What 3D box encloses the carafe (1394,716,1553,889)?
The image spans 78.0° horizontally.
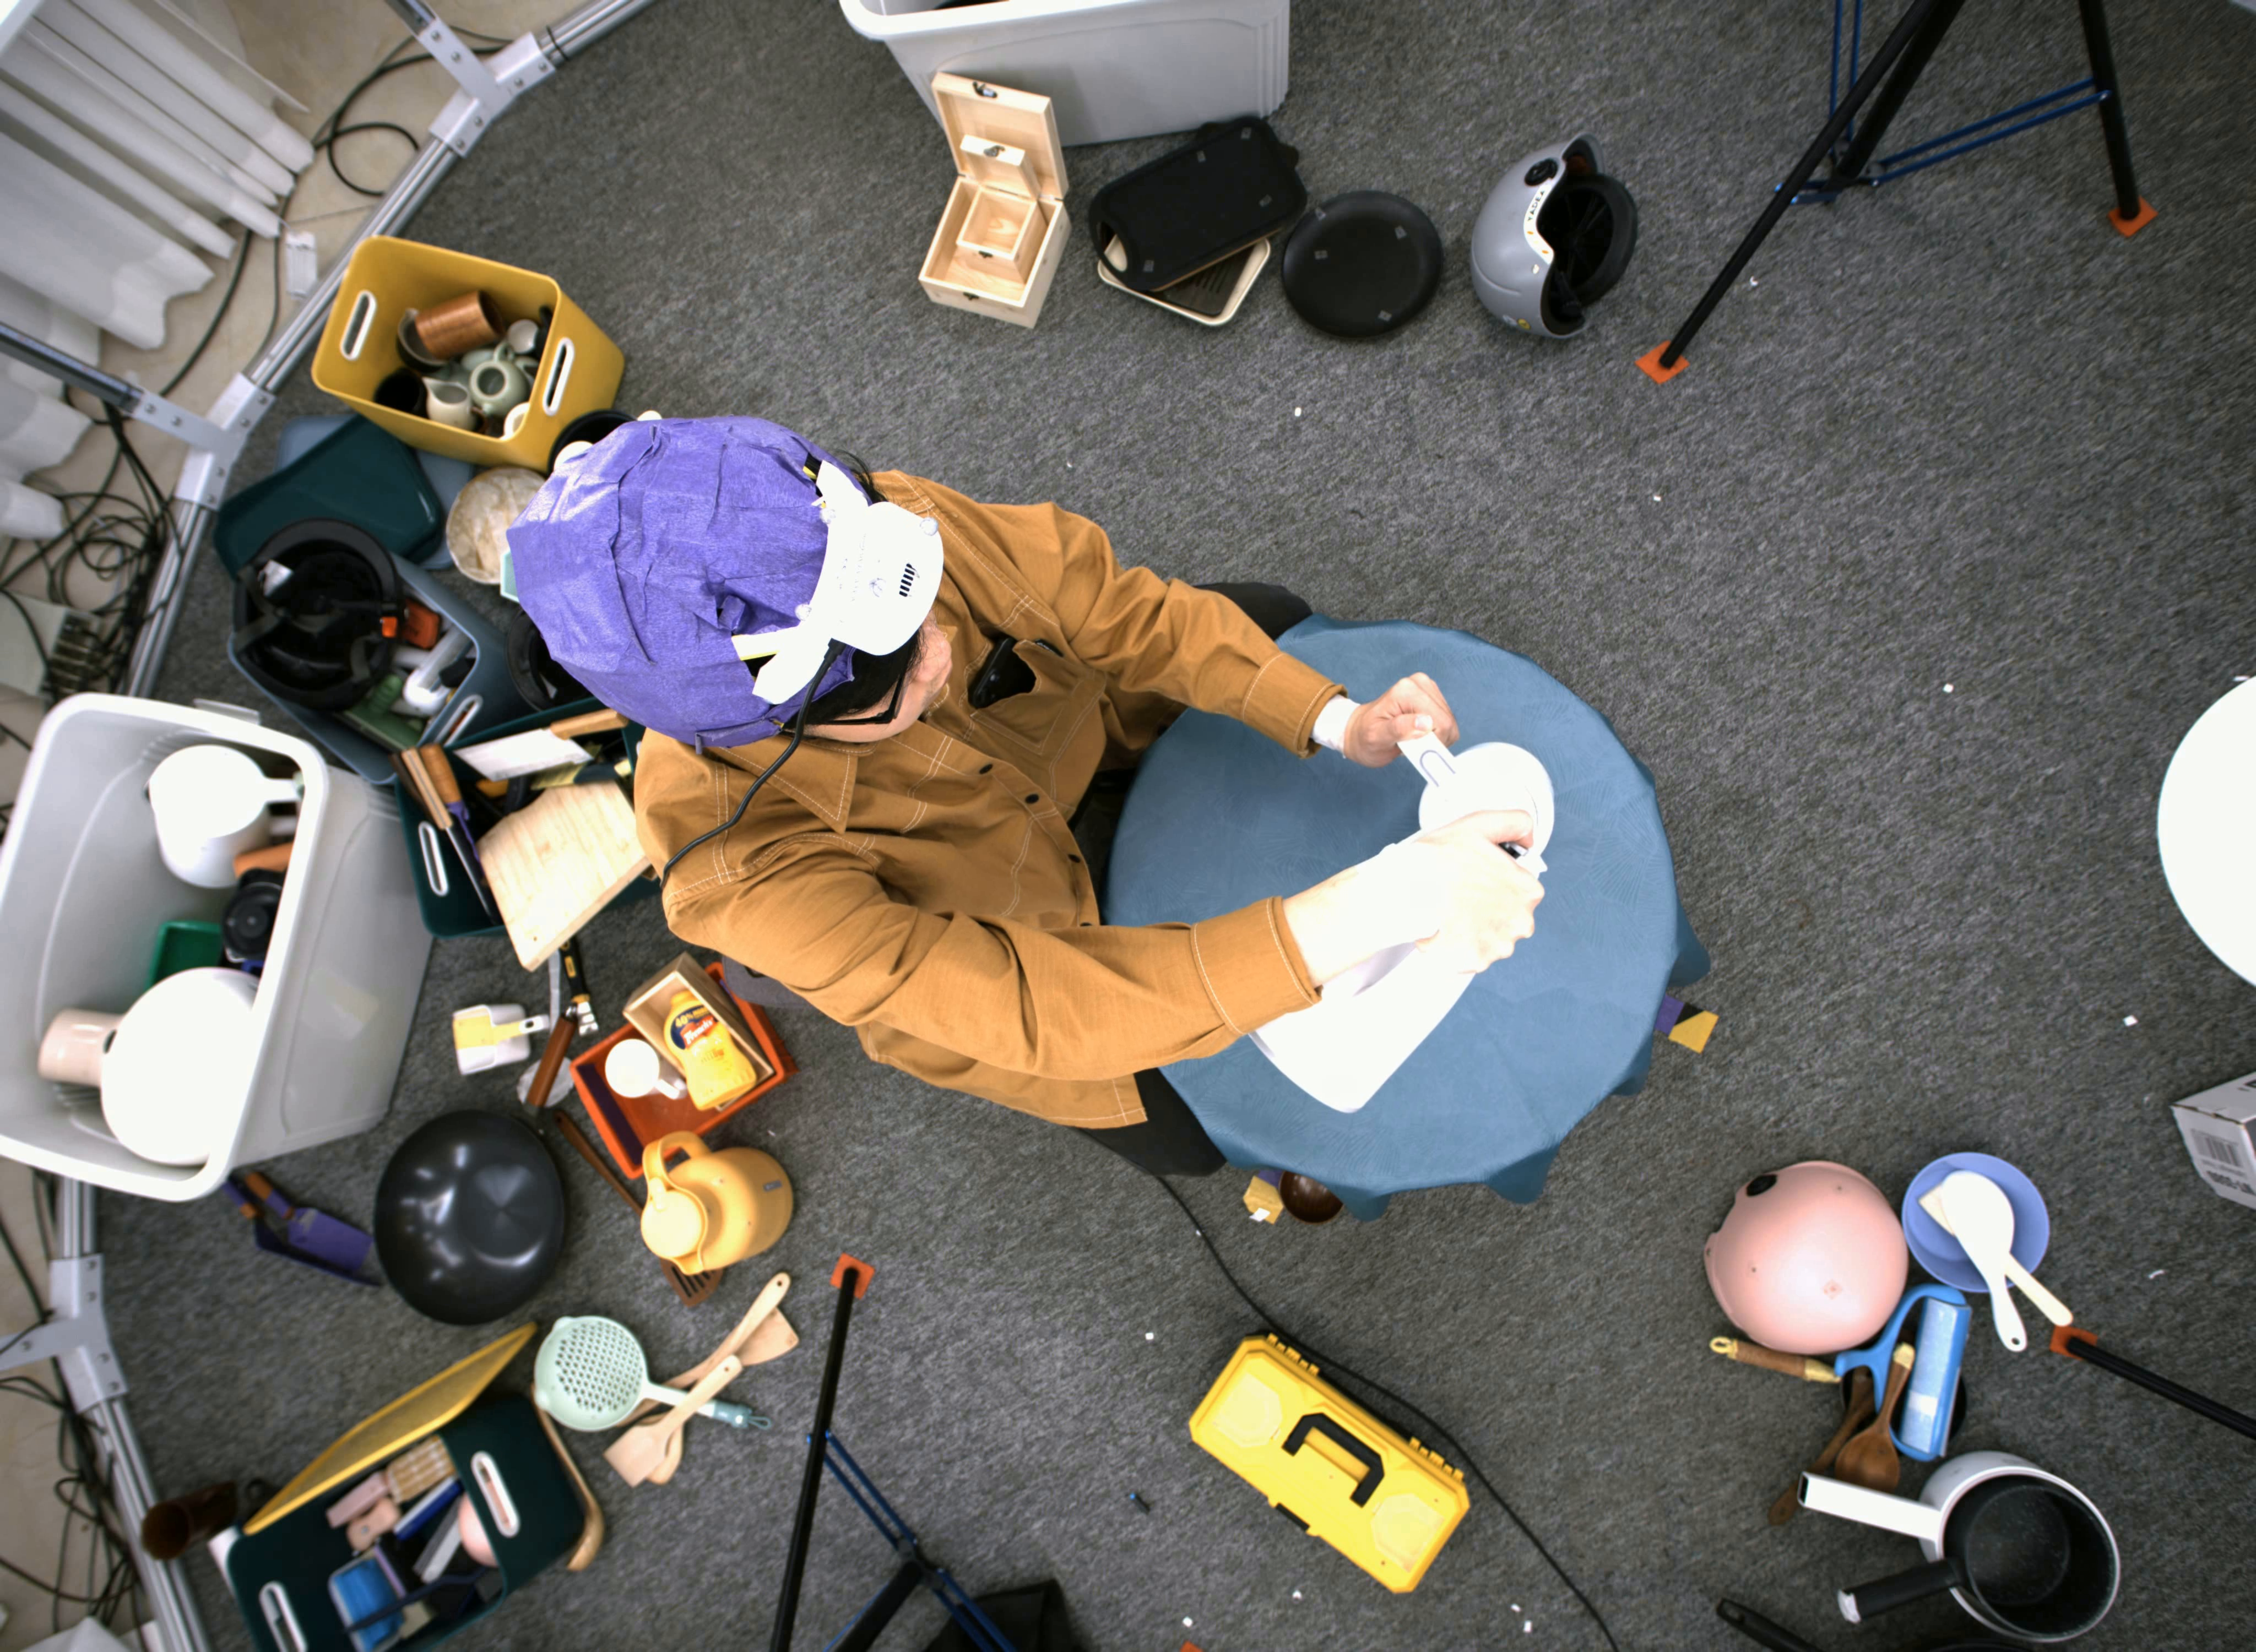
[{"bbox_3d":[0.321,-0.029,1.272,0.126,0.266,0.172,-42,83,20],"label":"carafe"}]

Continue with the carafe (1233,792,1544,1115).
[{"bbox_3d":[0.209,0.095,1.059,0.133,0.165,0.252,39,107,-3],"label":"carafe"}]
